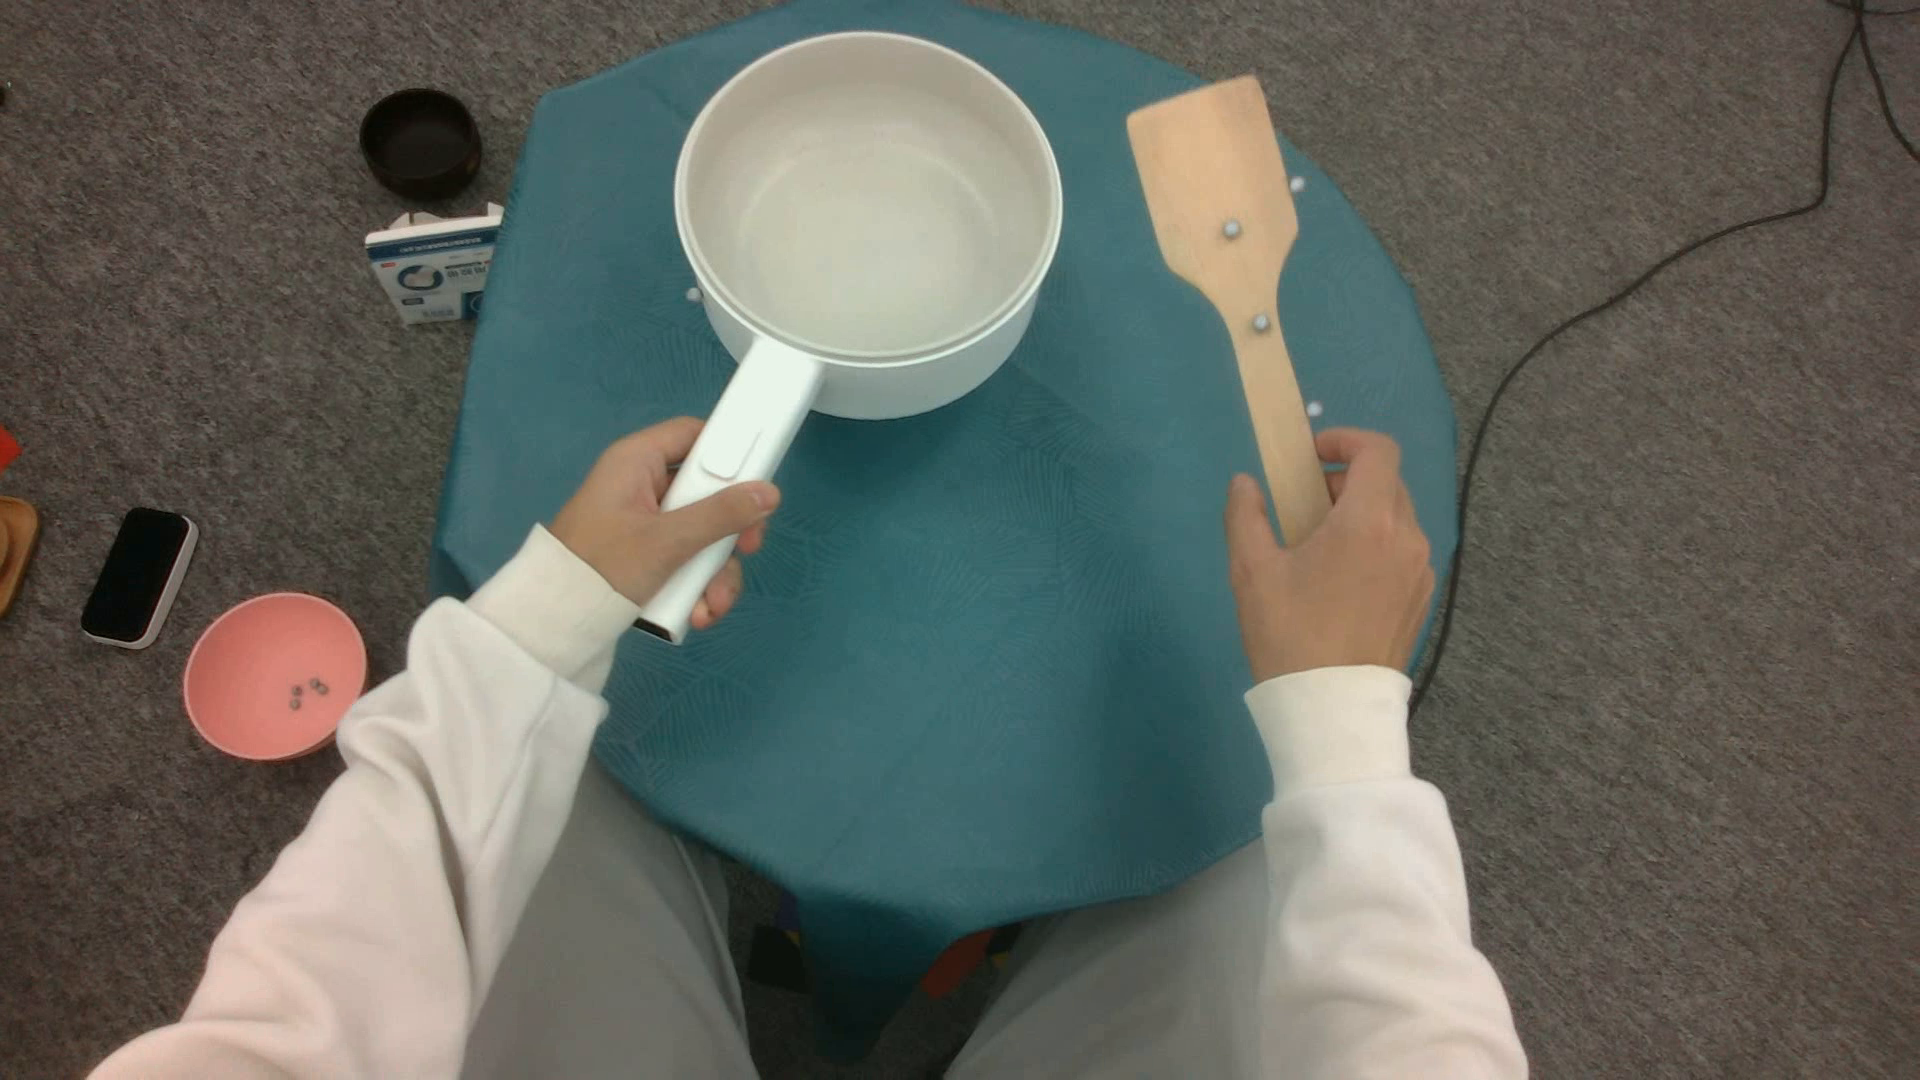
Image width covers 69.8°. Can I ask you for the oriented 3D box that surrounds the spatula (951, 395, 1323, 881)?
[{"bbox_3d":[0.096,0.047,0.723,0.072,0.010,0.293,-32,68,-3],"label":"spatula"}]

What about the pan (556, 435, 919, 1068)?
[{"bbox_3d":[-0.132,0.110,0.760,0.201,0.101,0.356,6,57,4],"label":"pan"}]
